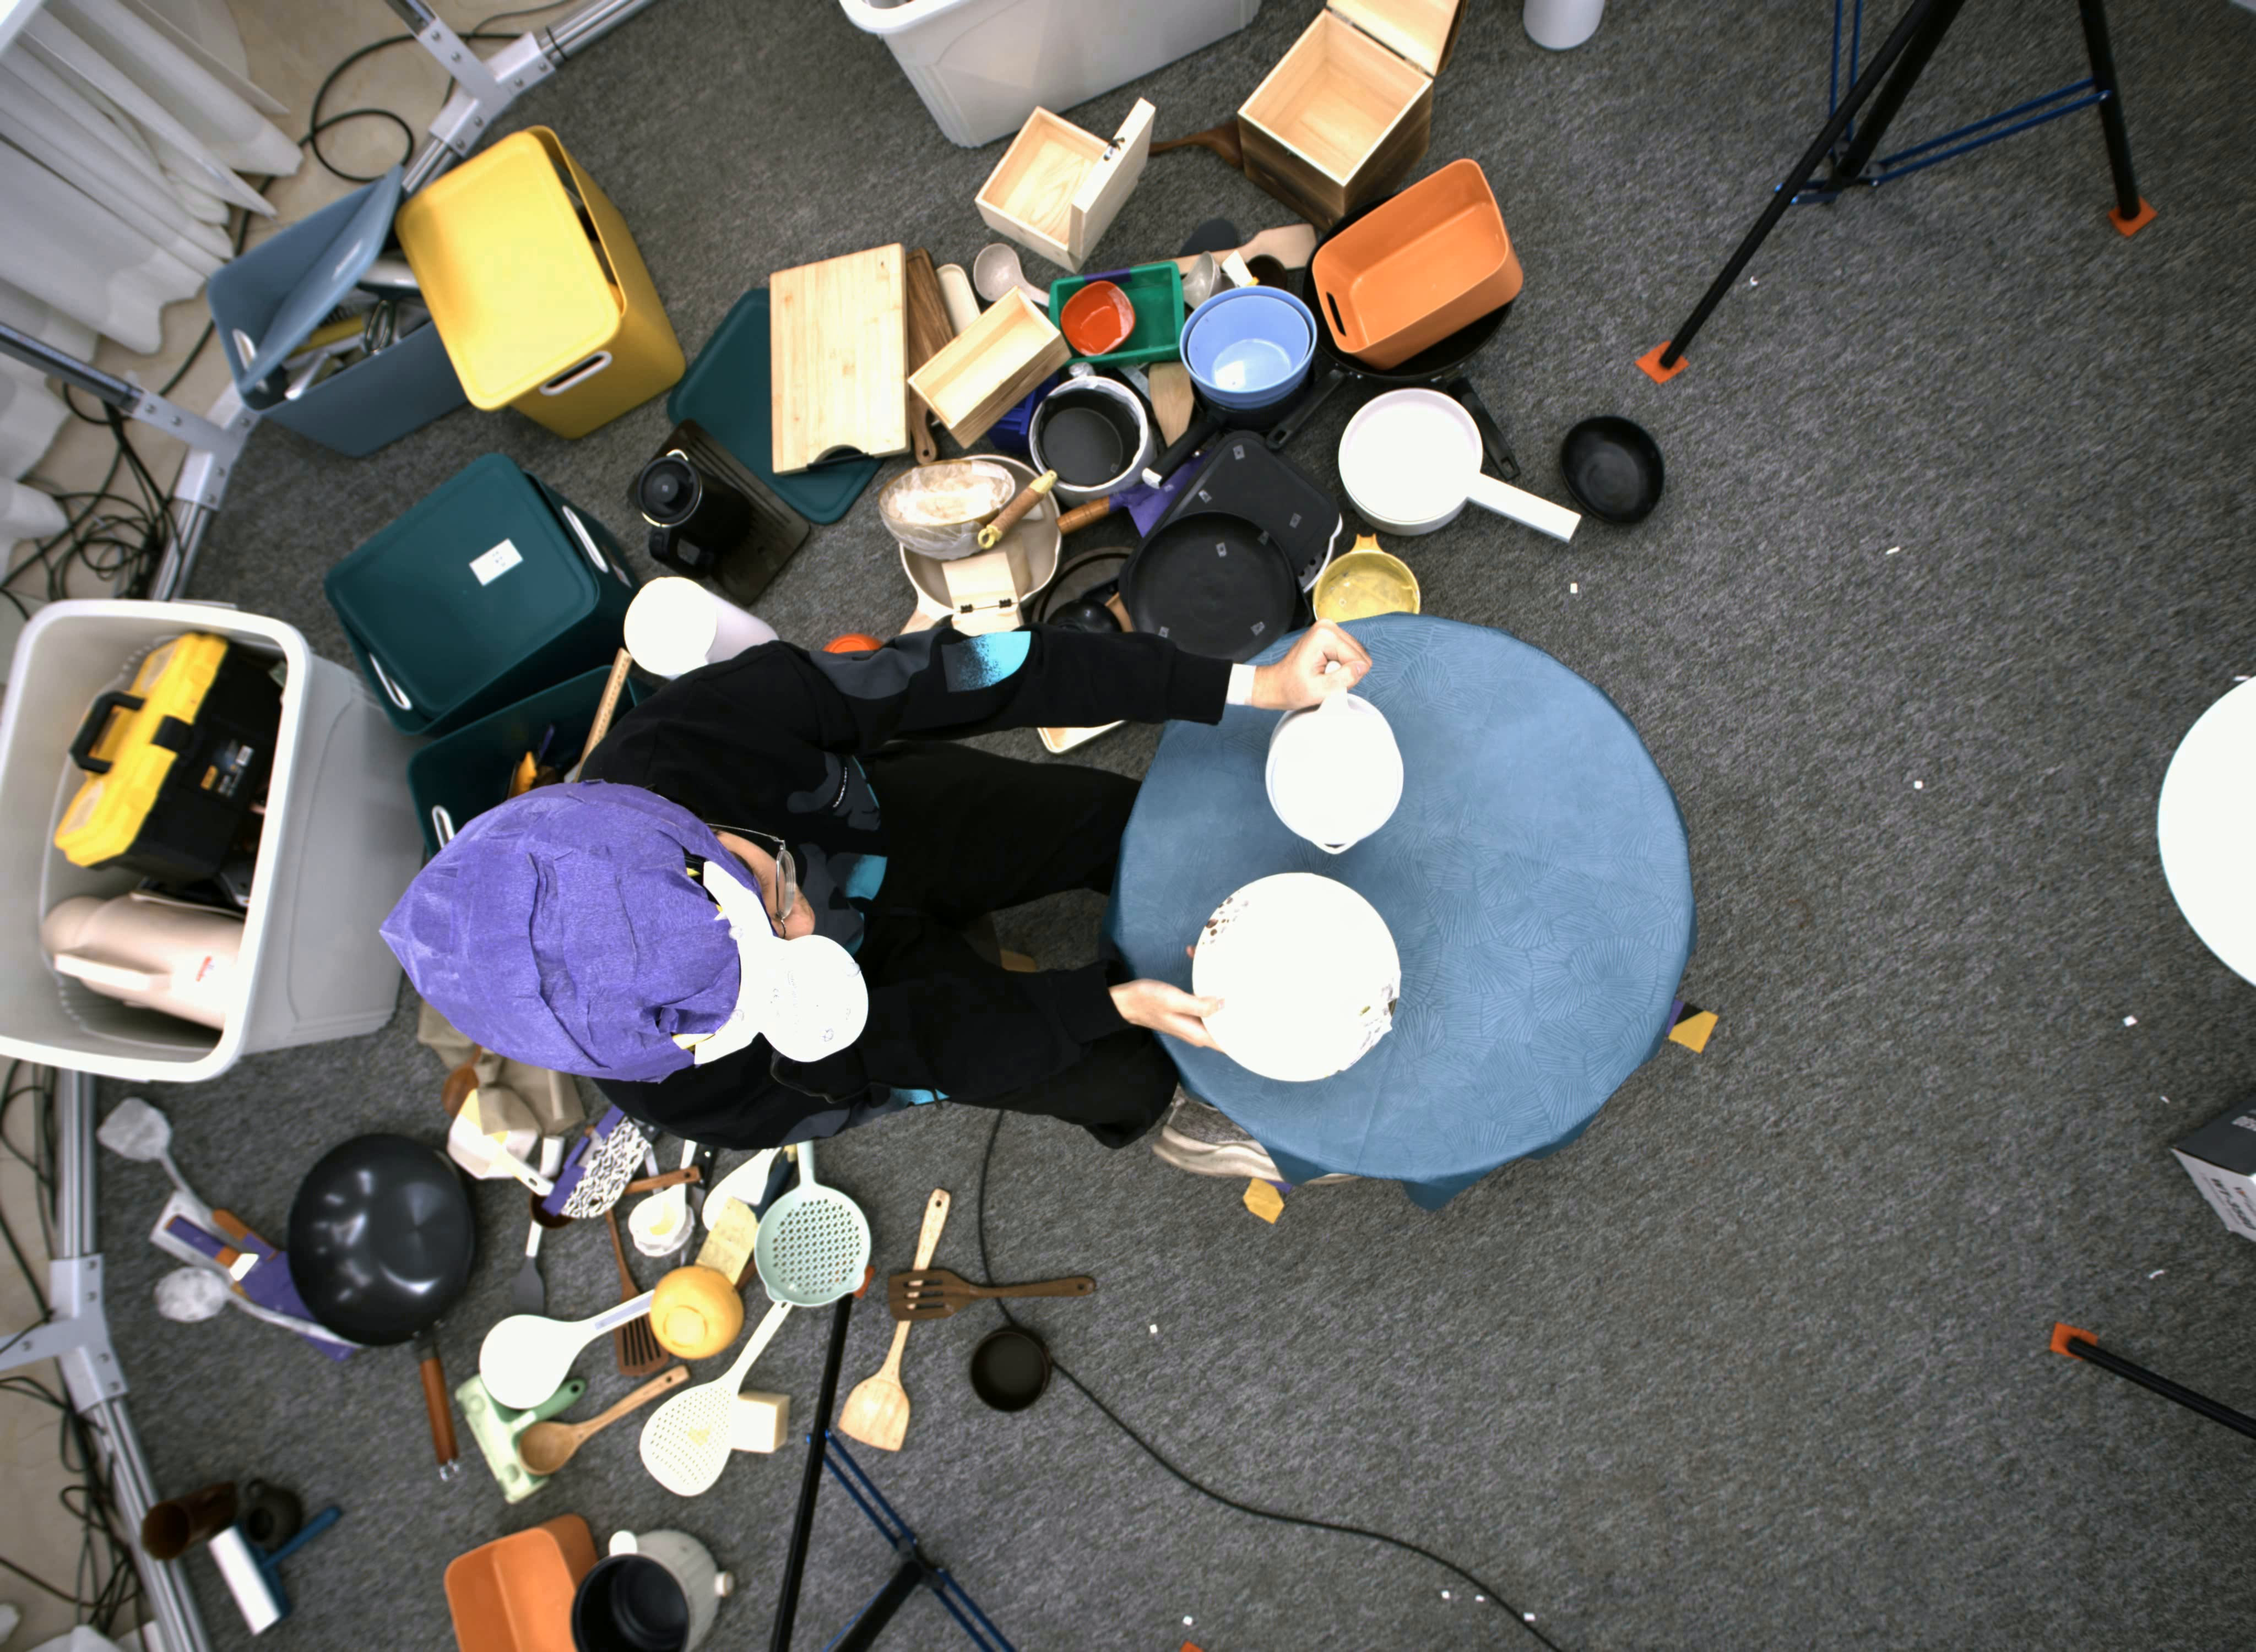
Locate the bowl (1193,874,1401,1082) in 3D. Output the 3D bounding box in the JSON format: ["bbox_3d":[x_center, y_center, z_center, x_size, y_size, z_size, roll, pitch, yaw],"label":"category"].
[{"bbox_3d":[0.172,0.151,1.390,0.205,0.078,0.203,-1,86,13],"label":"bowl"}]

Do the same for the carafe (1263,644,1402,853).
[{"bbox_3d":[0.198,-0.083,1.348,0.132,0.180,0.193,-2,101,7],"label":"carafe"}]
